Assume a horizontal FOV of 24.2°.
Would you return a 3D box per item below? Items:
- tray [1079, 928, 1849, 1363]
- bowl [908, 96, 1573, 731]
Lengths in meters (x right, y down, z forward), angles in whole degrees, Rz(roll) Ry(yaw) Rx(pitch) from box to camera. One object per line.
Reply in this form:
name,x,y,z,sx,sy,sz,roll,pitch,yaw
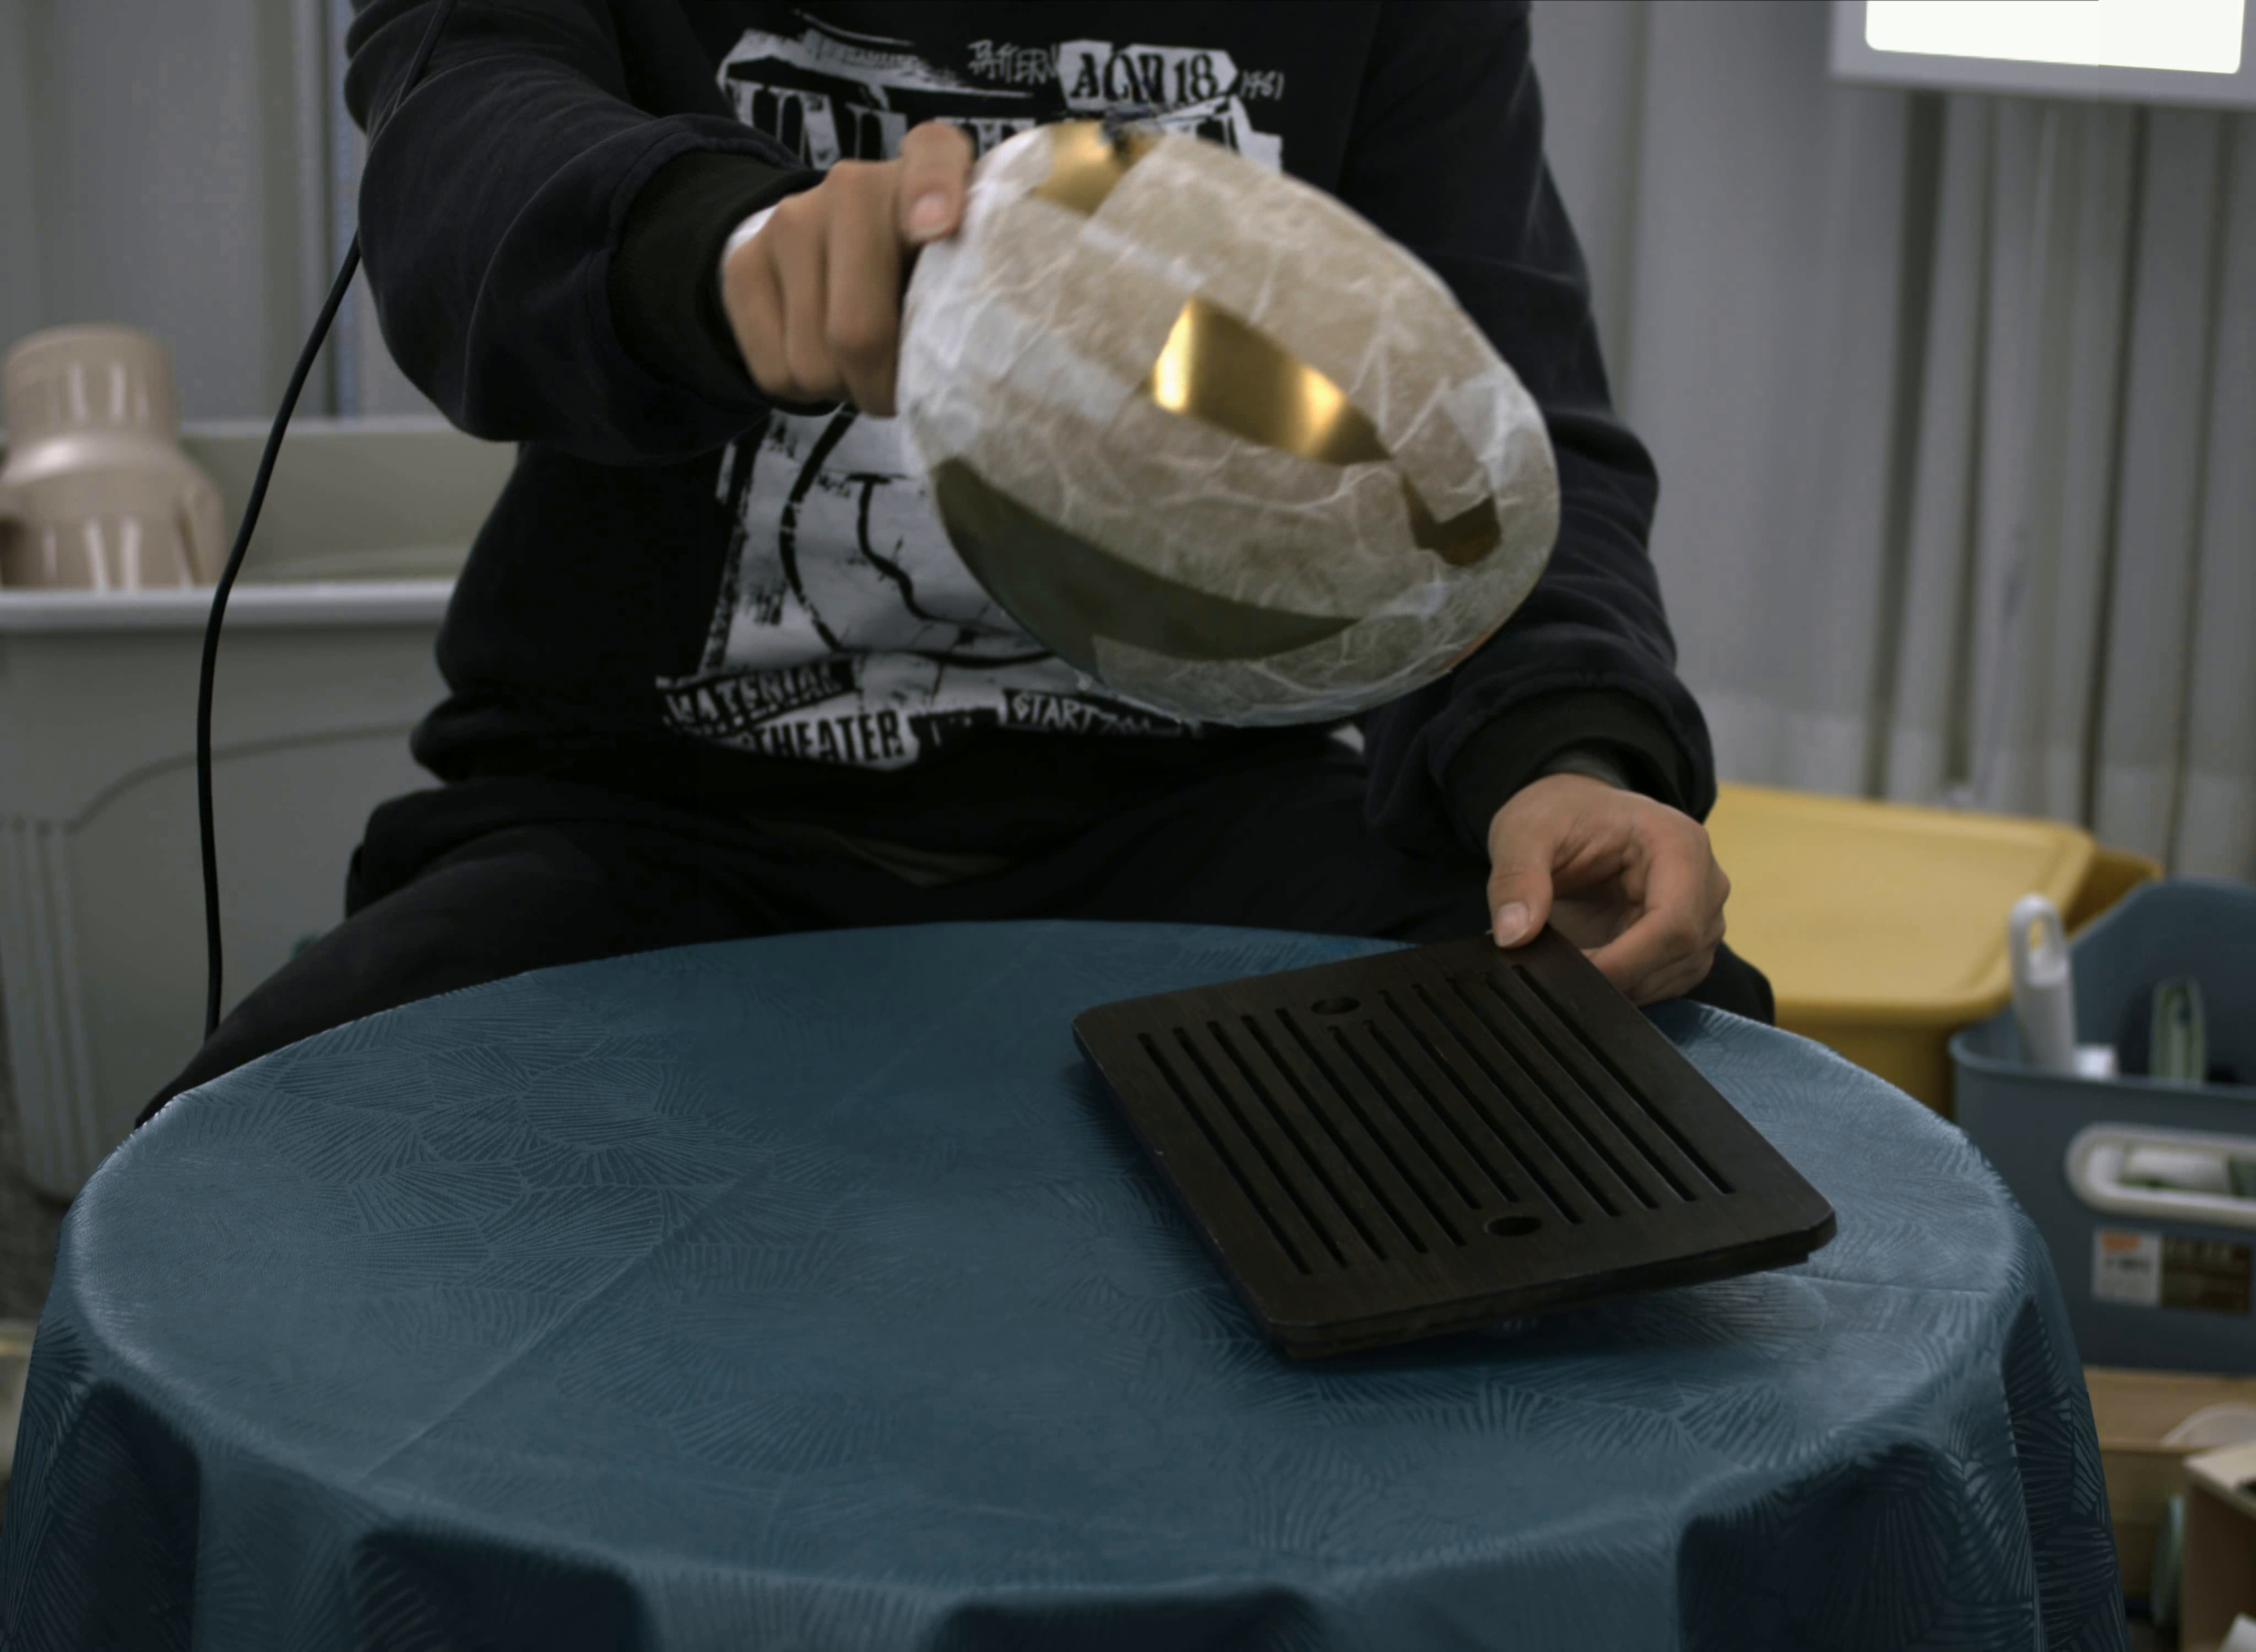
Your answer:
tray,0.095,0.094,1.627,0.170,0.019,0.303,-10,17,-10
bowl,0.015,-0.094,1.474,0.212,0.218,0.094,13,55,35
